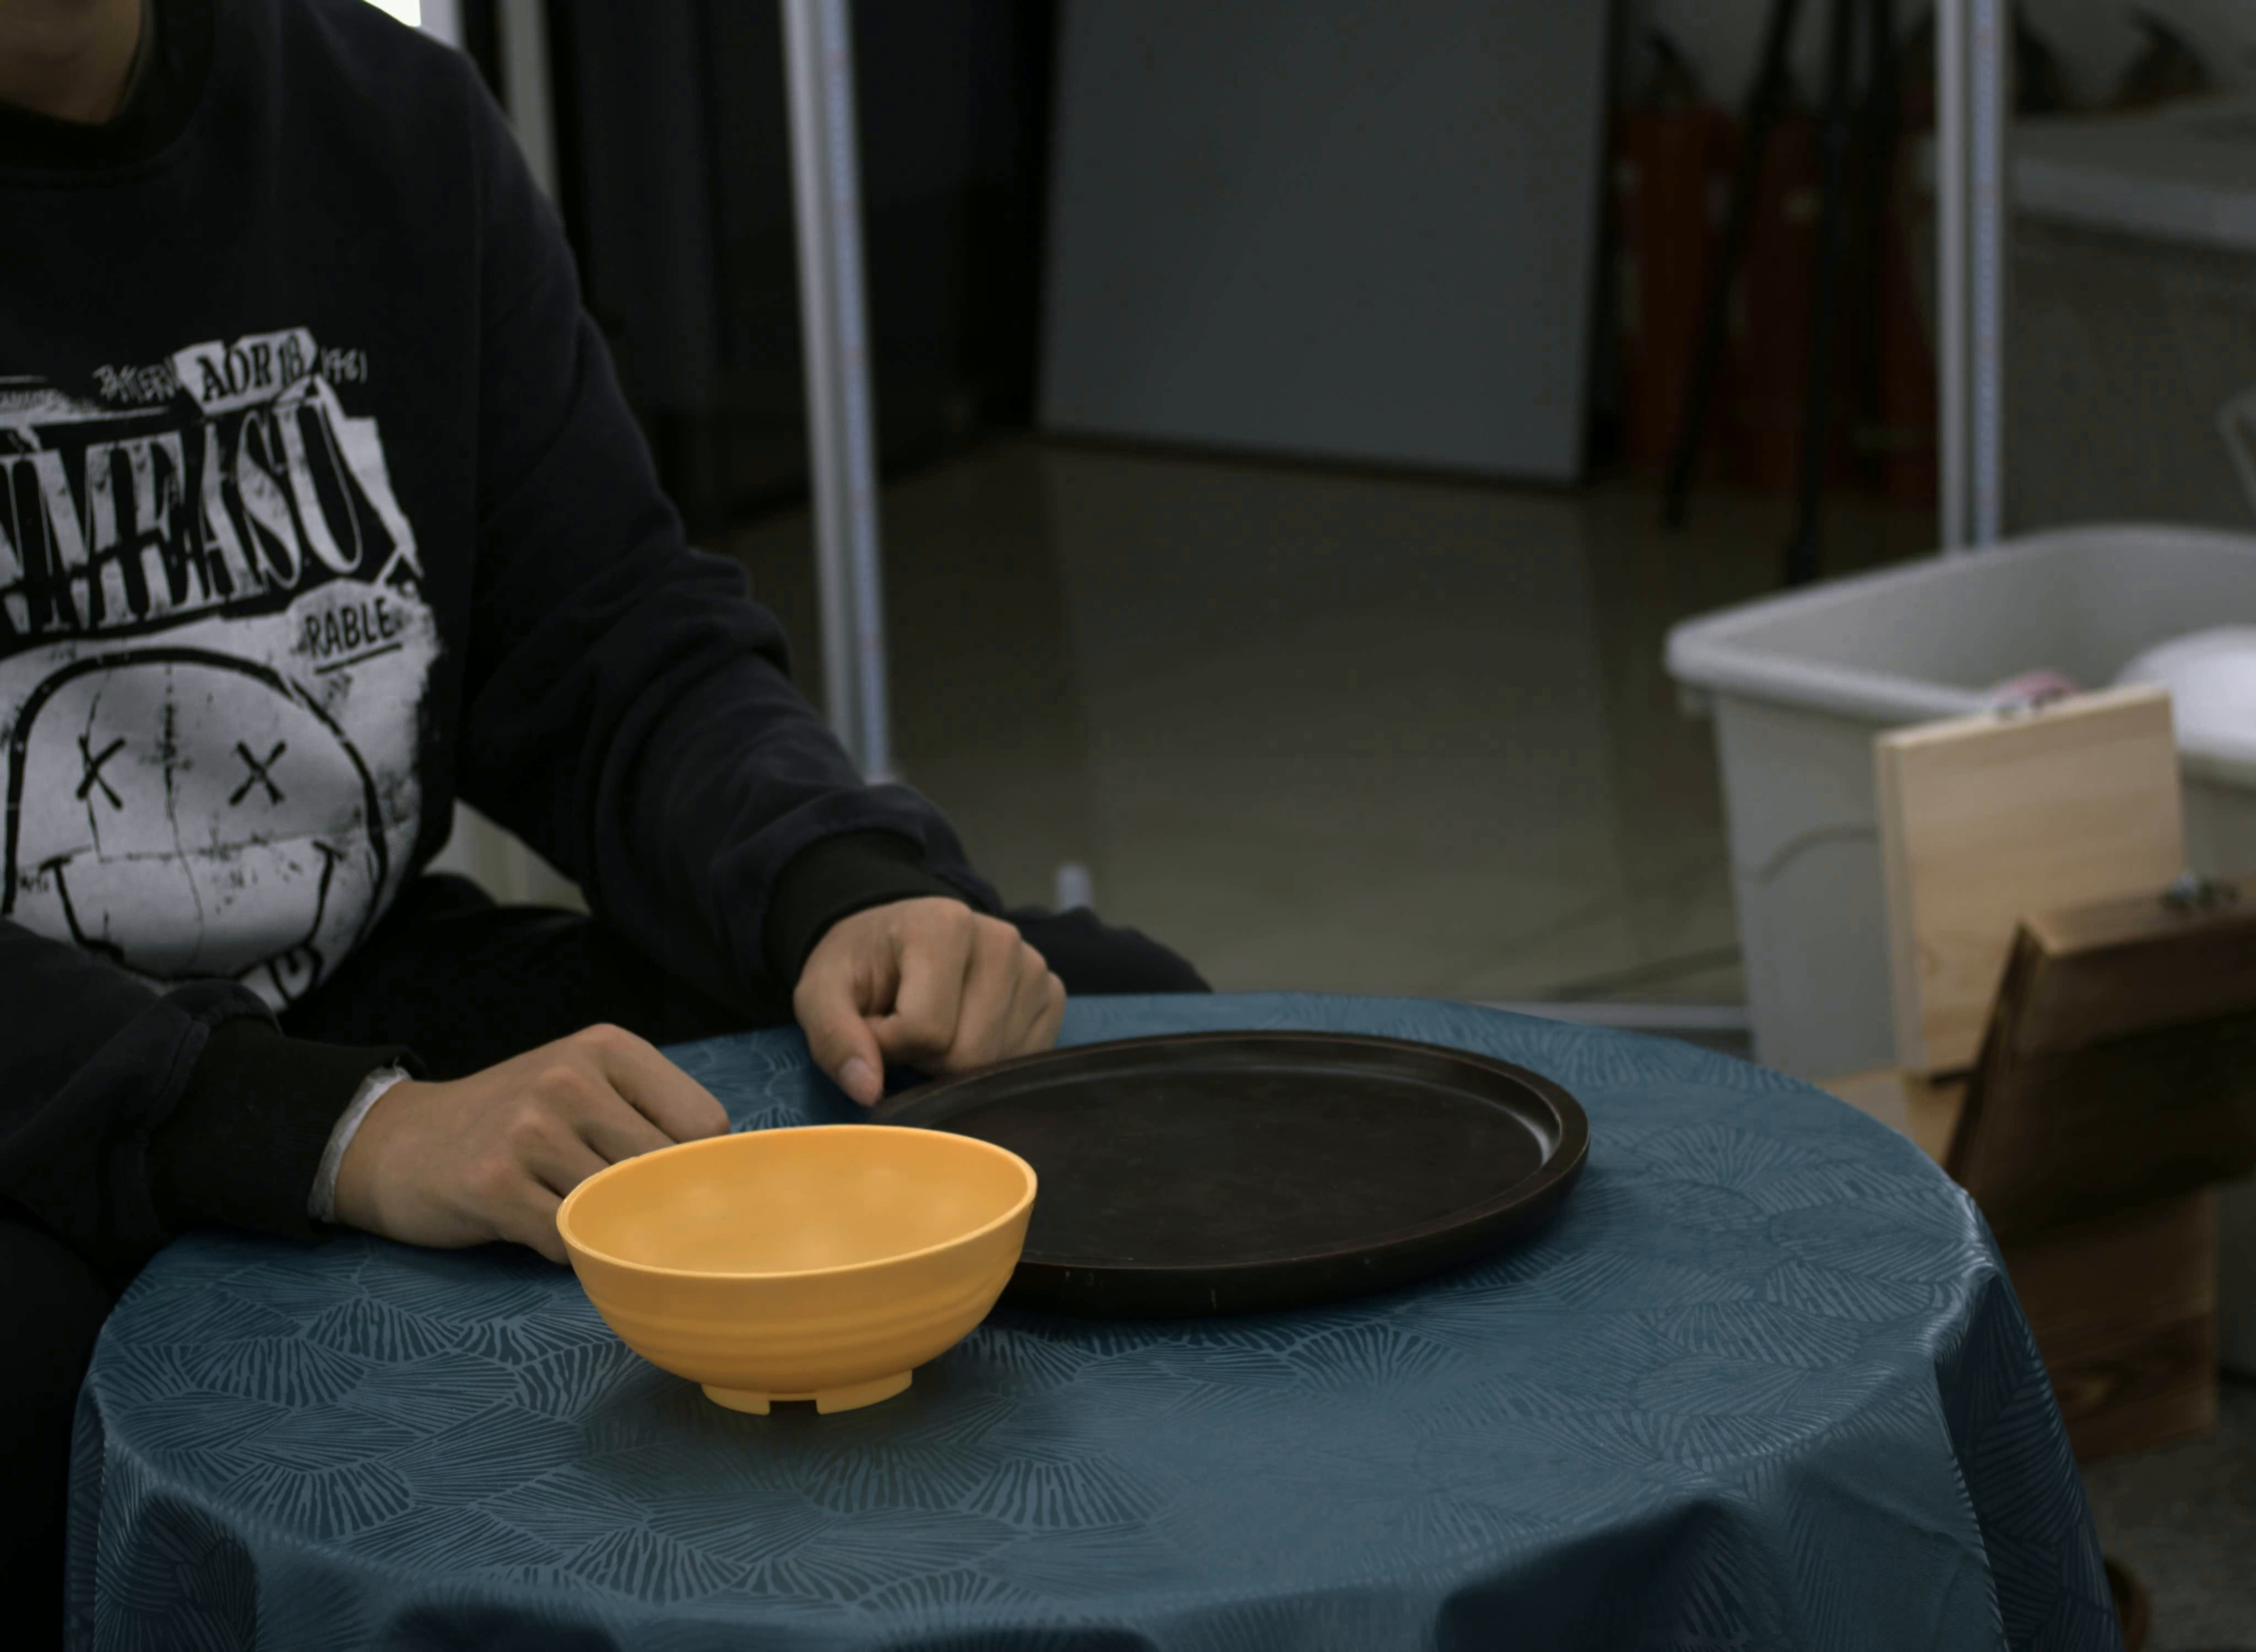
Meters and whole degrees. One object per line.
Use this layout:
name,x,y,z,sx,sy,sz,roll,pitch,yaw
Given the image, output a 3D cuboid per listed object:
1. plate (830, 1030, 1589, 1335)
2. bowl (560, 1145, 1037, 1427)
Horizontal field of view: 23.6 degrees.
plate,0.026,0.113,1.751,0.251,0.029,0.255,-6,15,1
bowl,-0.096,0.140,1.607,0.143,0.061,0.145,-4,11,0
